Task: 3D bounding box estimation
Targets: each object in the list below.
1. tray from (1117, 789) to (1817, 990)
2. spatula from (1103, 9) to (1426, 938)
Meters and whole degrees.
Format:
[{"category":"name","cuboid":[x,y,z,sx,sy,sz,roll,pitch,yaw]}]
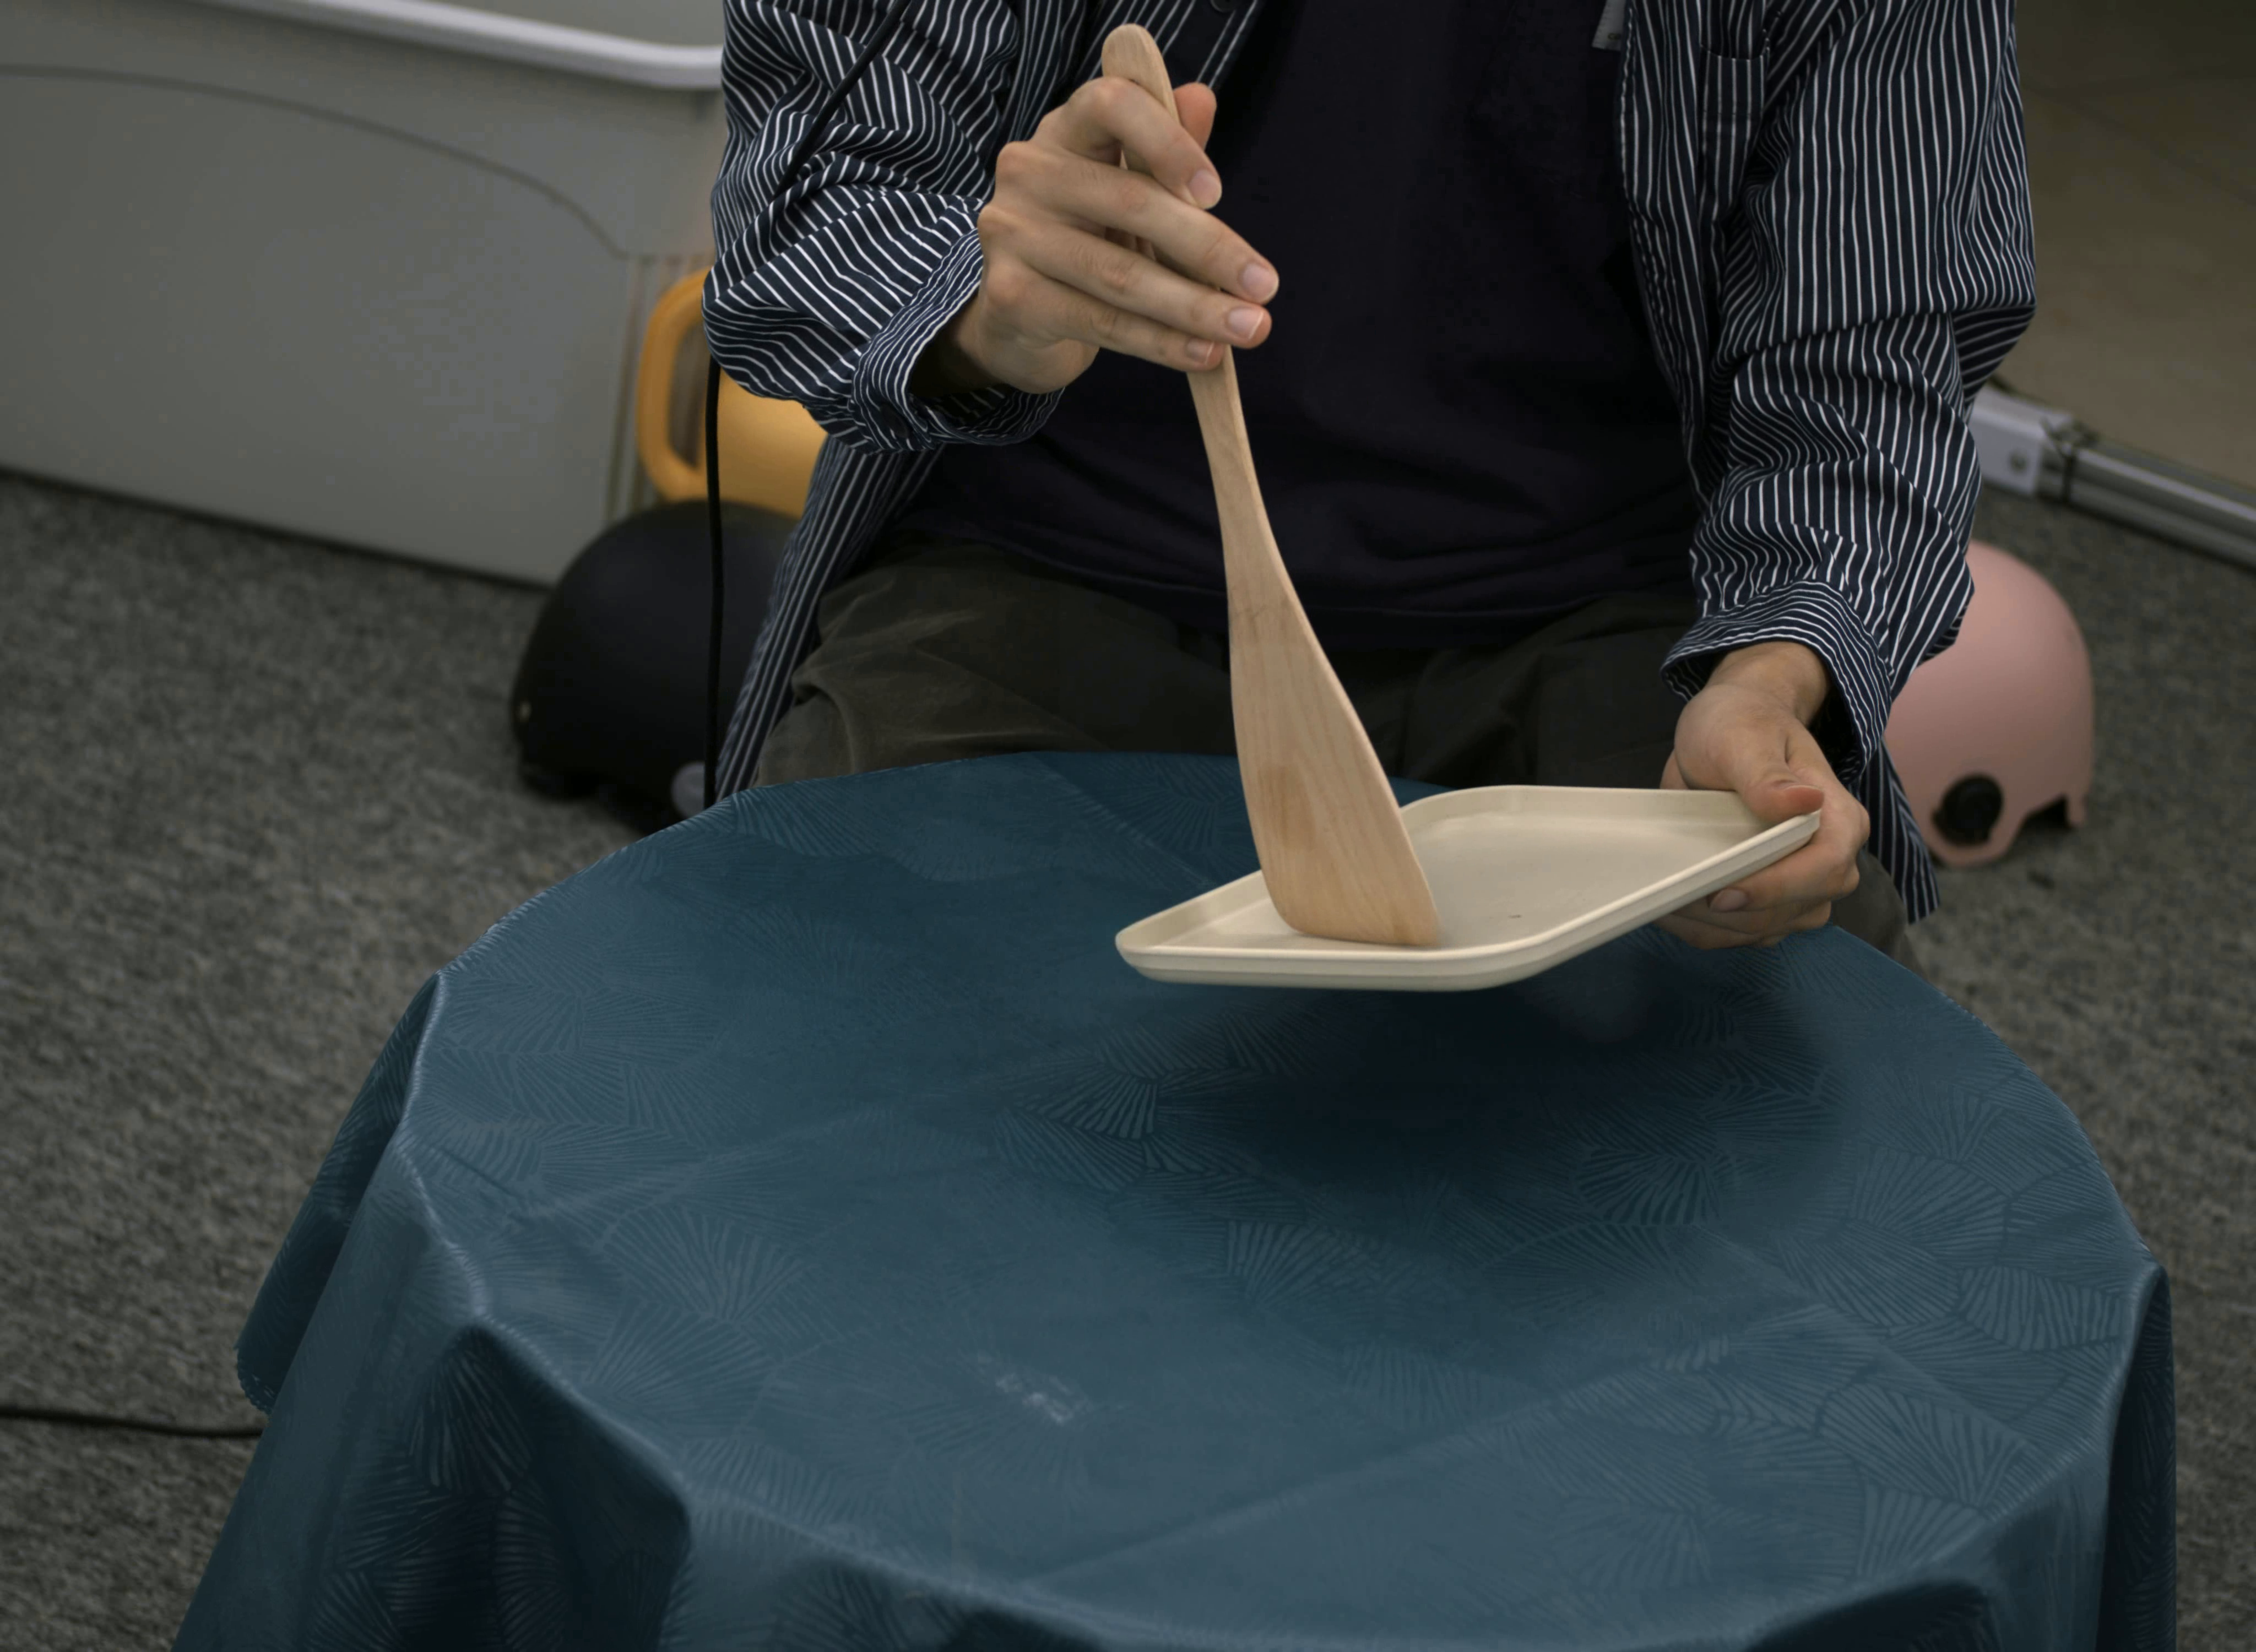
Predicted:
[{"category":"tray","cuboid":[0.121,0.022,1.856,0.172,0.017,0.238,1,14,37]},{"category":"spatula","cuboid":[0.037,-0.117,1.815,0.016,0.328,0.080,-13,1,-39]}]
